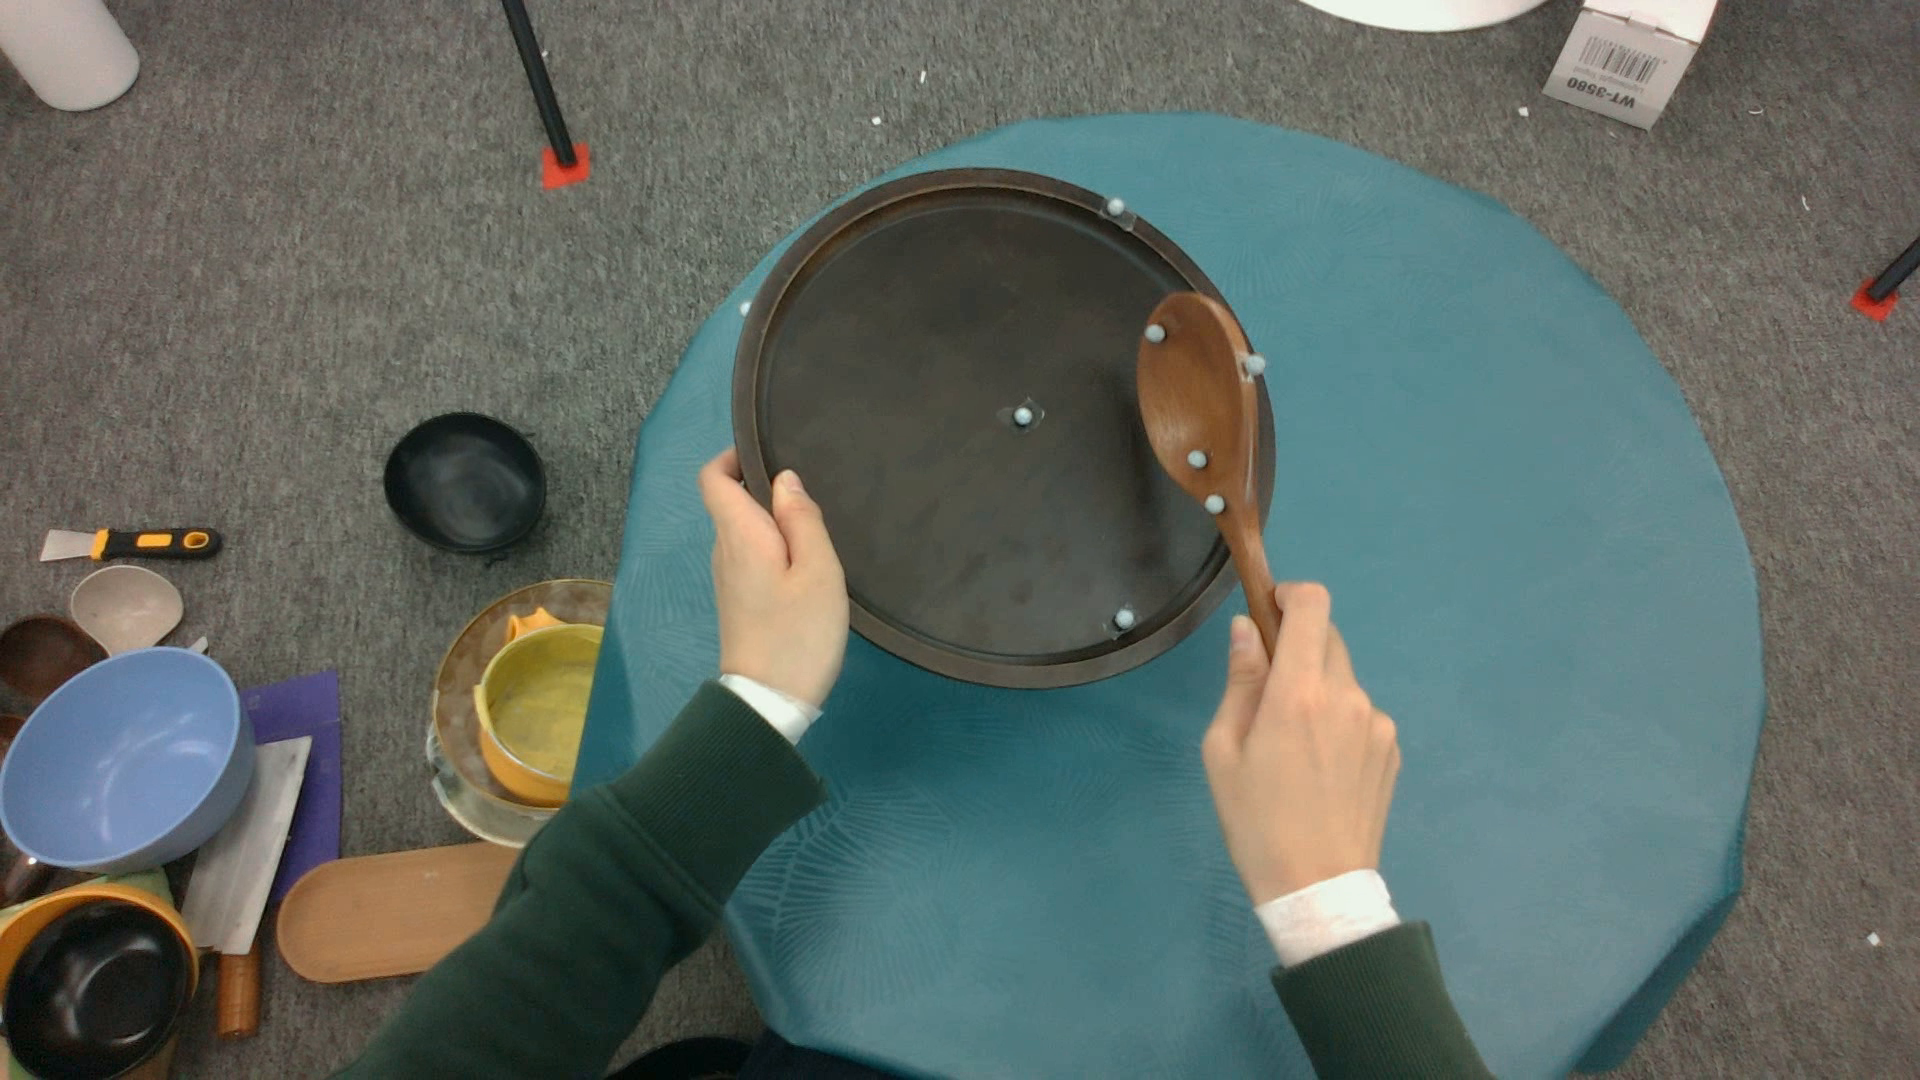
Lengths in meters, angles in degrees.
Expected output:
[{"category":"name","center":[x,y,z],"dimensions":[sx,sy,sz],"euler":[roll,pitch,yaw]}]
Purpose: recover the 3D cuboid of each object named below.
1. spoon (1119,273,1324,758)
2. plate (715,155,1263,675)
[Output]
[{"category":"spoon","center":[0.113,-0.013,0.582],"dimensions":[0.017,0.075,0.216],"euler":[-4,70,-31]},{"category":"plate","center":[0.016,-0.061,0.628],"dimensions":[0.255,0.029,0.255],"euler":[4,70,-12]}]
